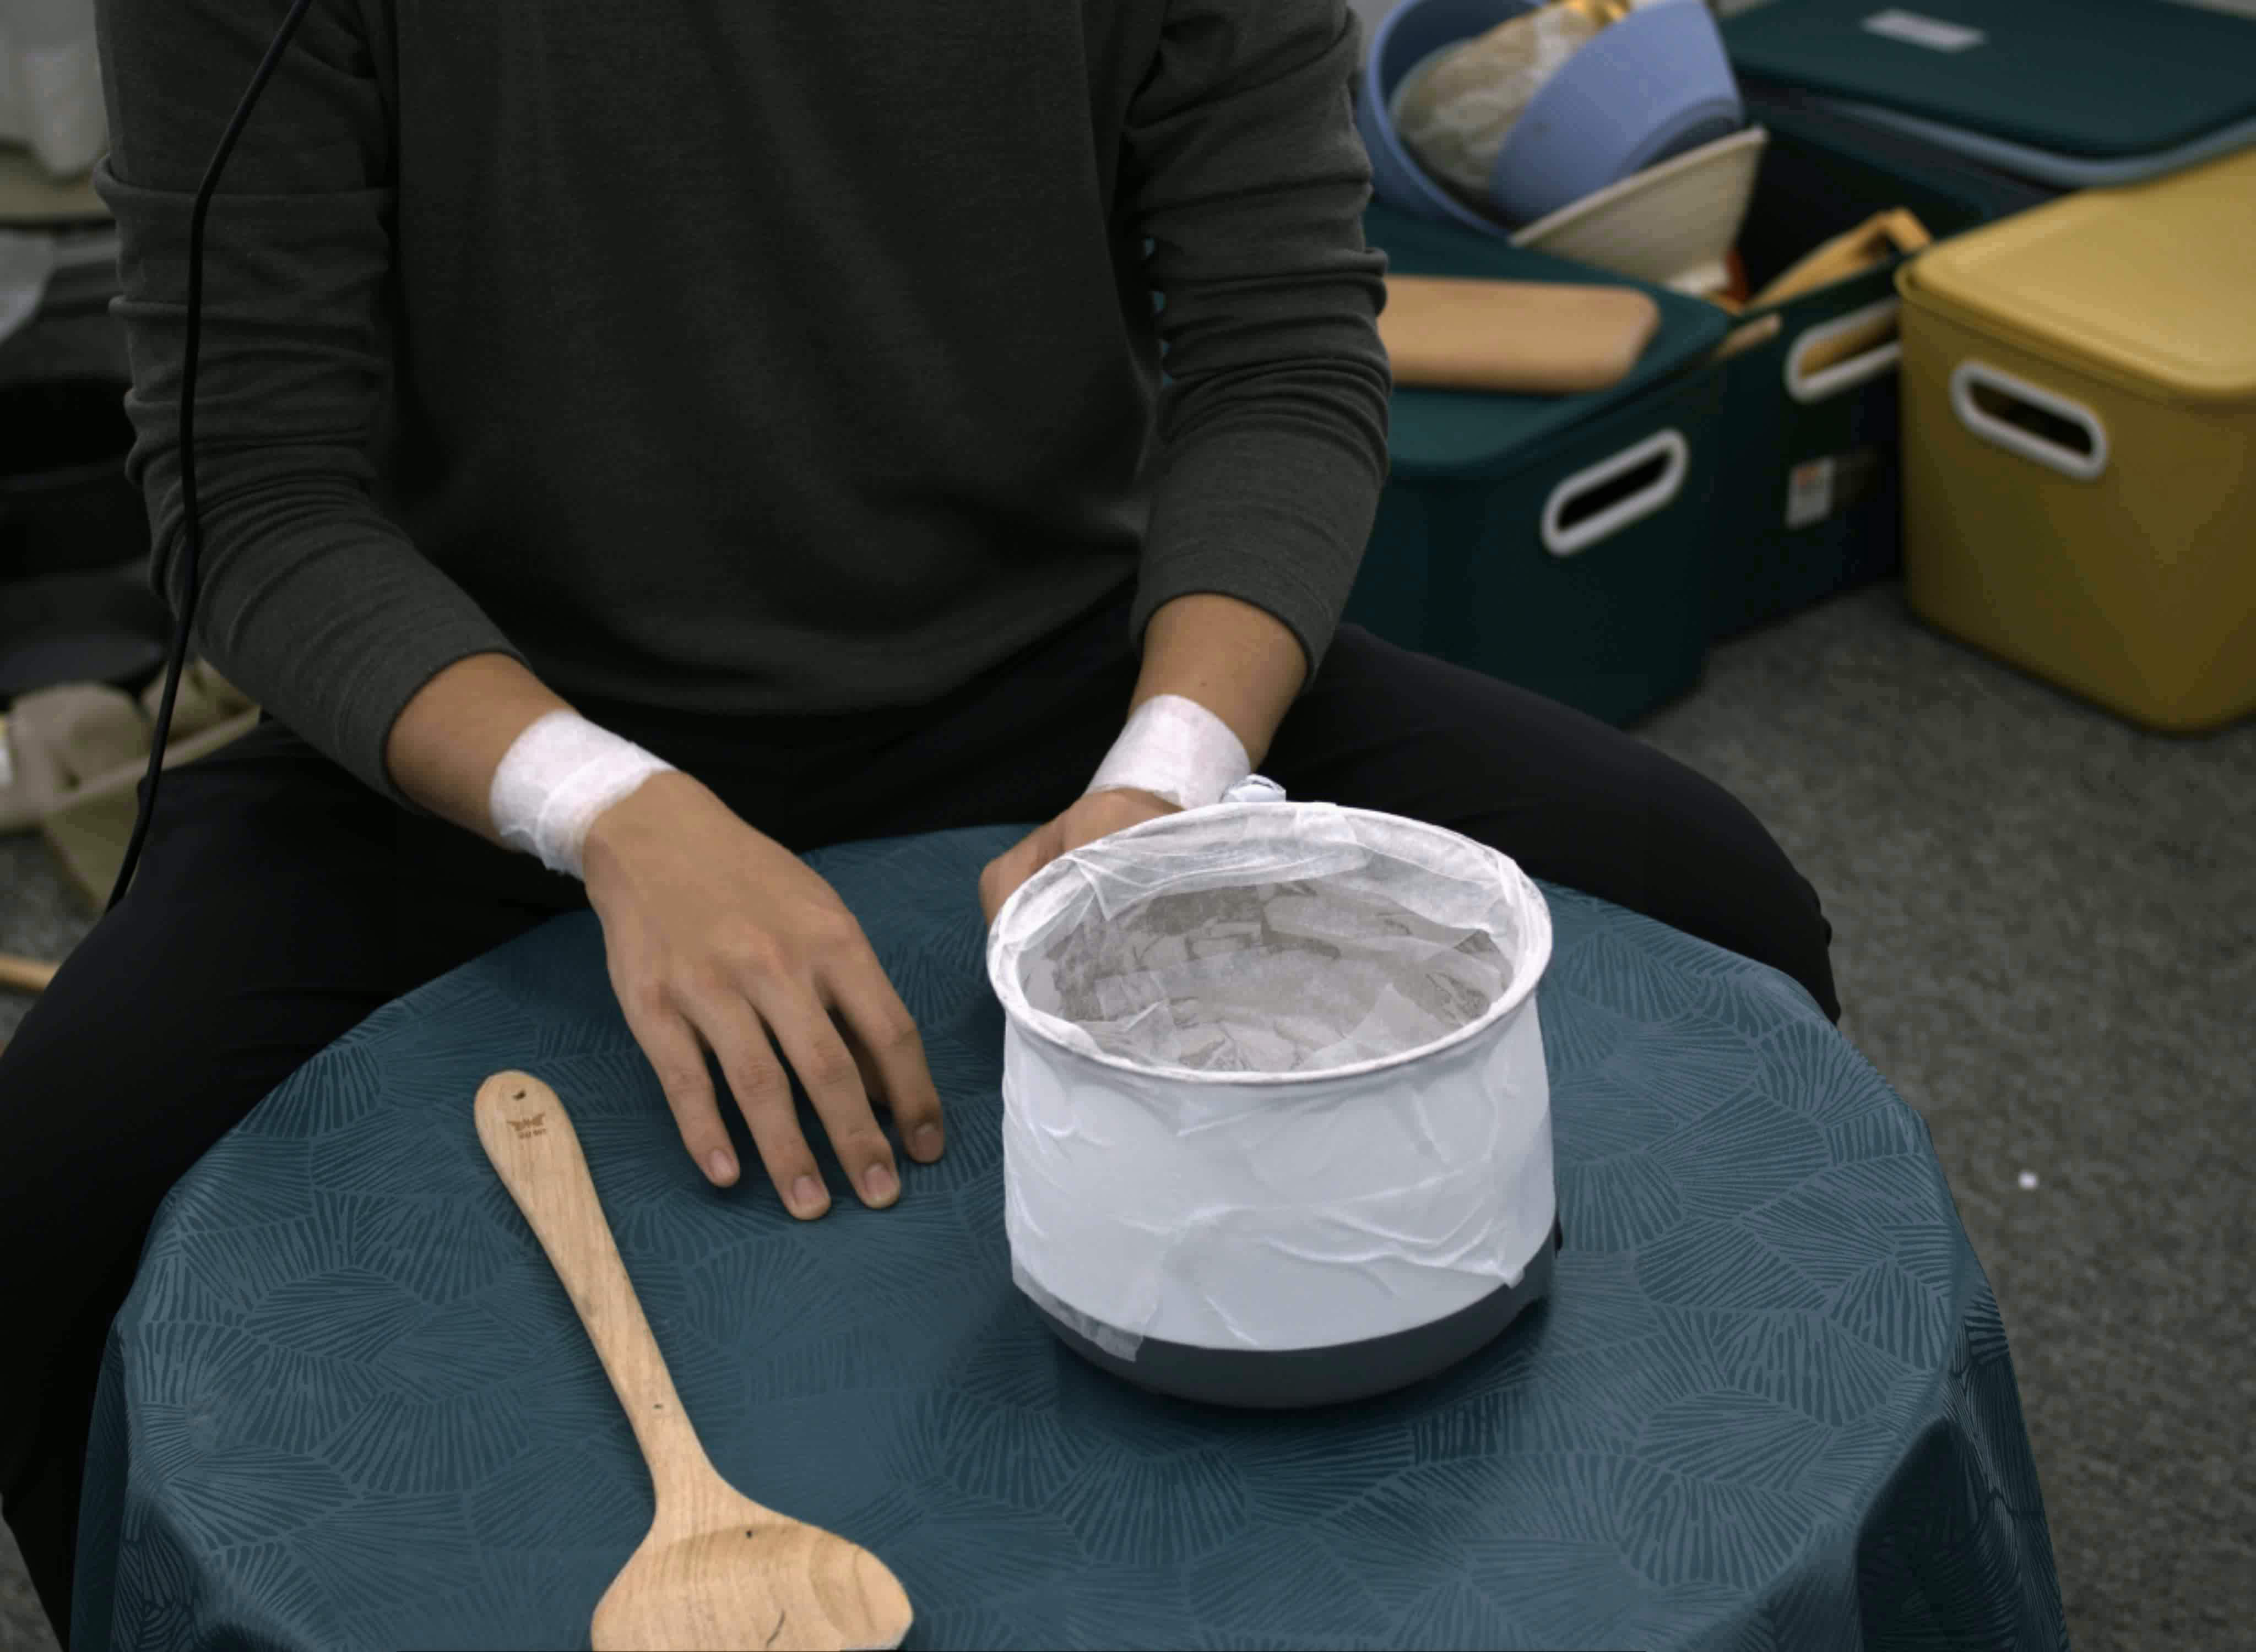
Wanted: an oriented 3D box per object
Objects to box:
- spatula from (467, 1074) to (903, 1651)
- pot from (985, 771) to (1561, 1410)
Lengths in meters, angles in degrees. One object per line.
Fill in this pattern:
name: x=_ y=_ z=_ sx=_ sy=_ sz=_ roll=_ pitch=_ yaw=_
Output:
spatula: x=-0.162 y=0.170 z=1.764 sx=0.096 sy=0.018 sz=0.394 roll=-9 pitch=28 yaw=-15
pot: x=0.045 y=0.077 z=1.797 sx=0.178 sy=0.135 sz=0.237 roll=-3 pitch=27 yaw=-1
